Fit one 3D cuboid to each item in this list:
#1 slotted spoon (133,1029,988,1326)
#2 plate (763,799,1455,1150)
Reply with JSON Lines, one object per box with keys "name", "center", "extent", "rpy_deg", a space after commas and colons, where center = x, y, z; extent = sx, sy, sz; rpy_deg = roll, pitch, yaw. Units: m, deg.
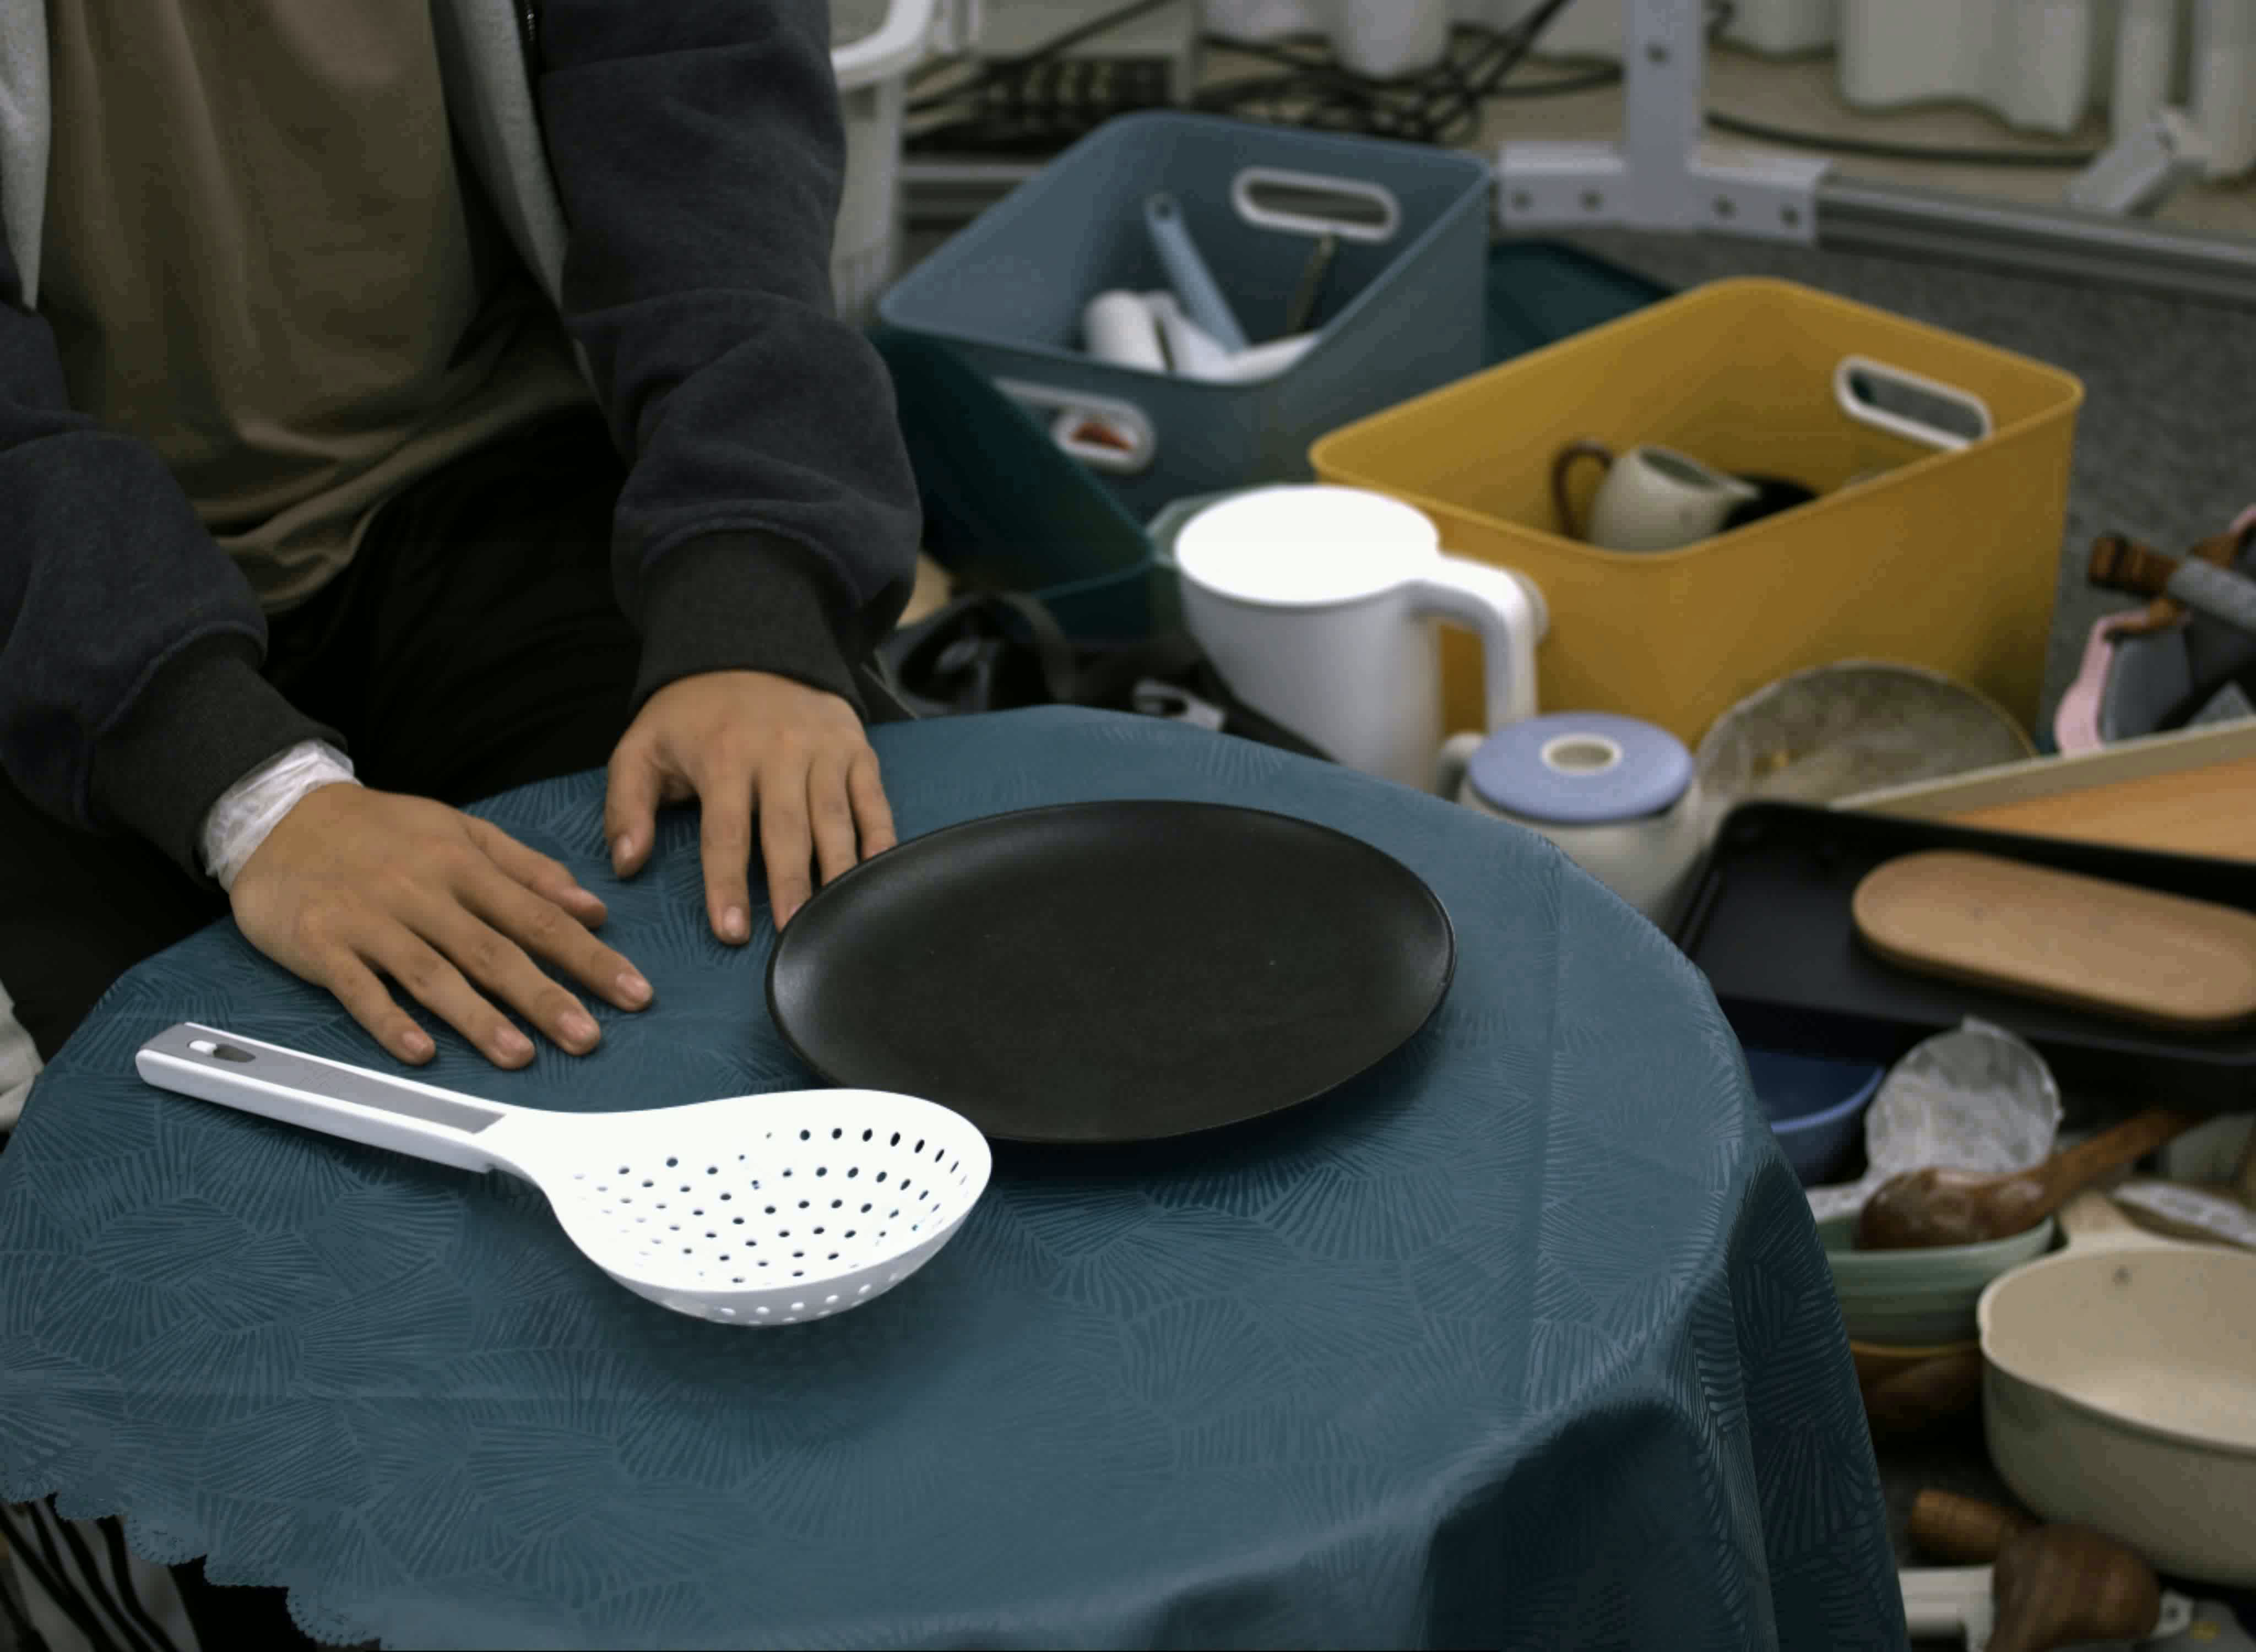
{"name": "slotted spoon", "center": [-0.199, 0.107, 1.861], "extent": [0.348, 0.045, 0.138], "rpy_deg": [15, 30, 32]}
{"name": "plate", "center": [-0.007, 0.056, 1.965], "extent": [0.243, 0.023, 0.248], "rpy_deg": [-2, 27, 2]}
